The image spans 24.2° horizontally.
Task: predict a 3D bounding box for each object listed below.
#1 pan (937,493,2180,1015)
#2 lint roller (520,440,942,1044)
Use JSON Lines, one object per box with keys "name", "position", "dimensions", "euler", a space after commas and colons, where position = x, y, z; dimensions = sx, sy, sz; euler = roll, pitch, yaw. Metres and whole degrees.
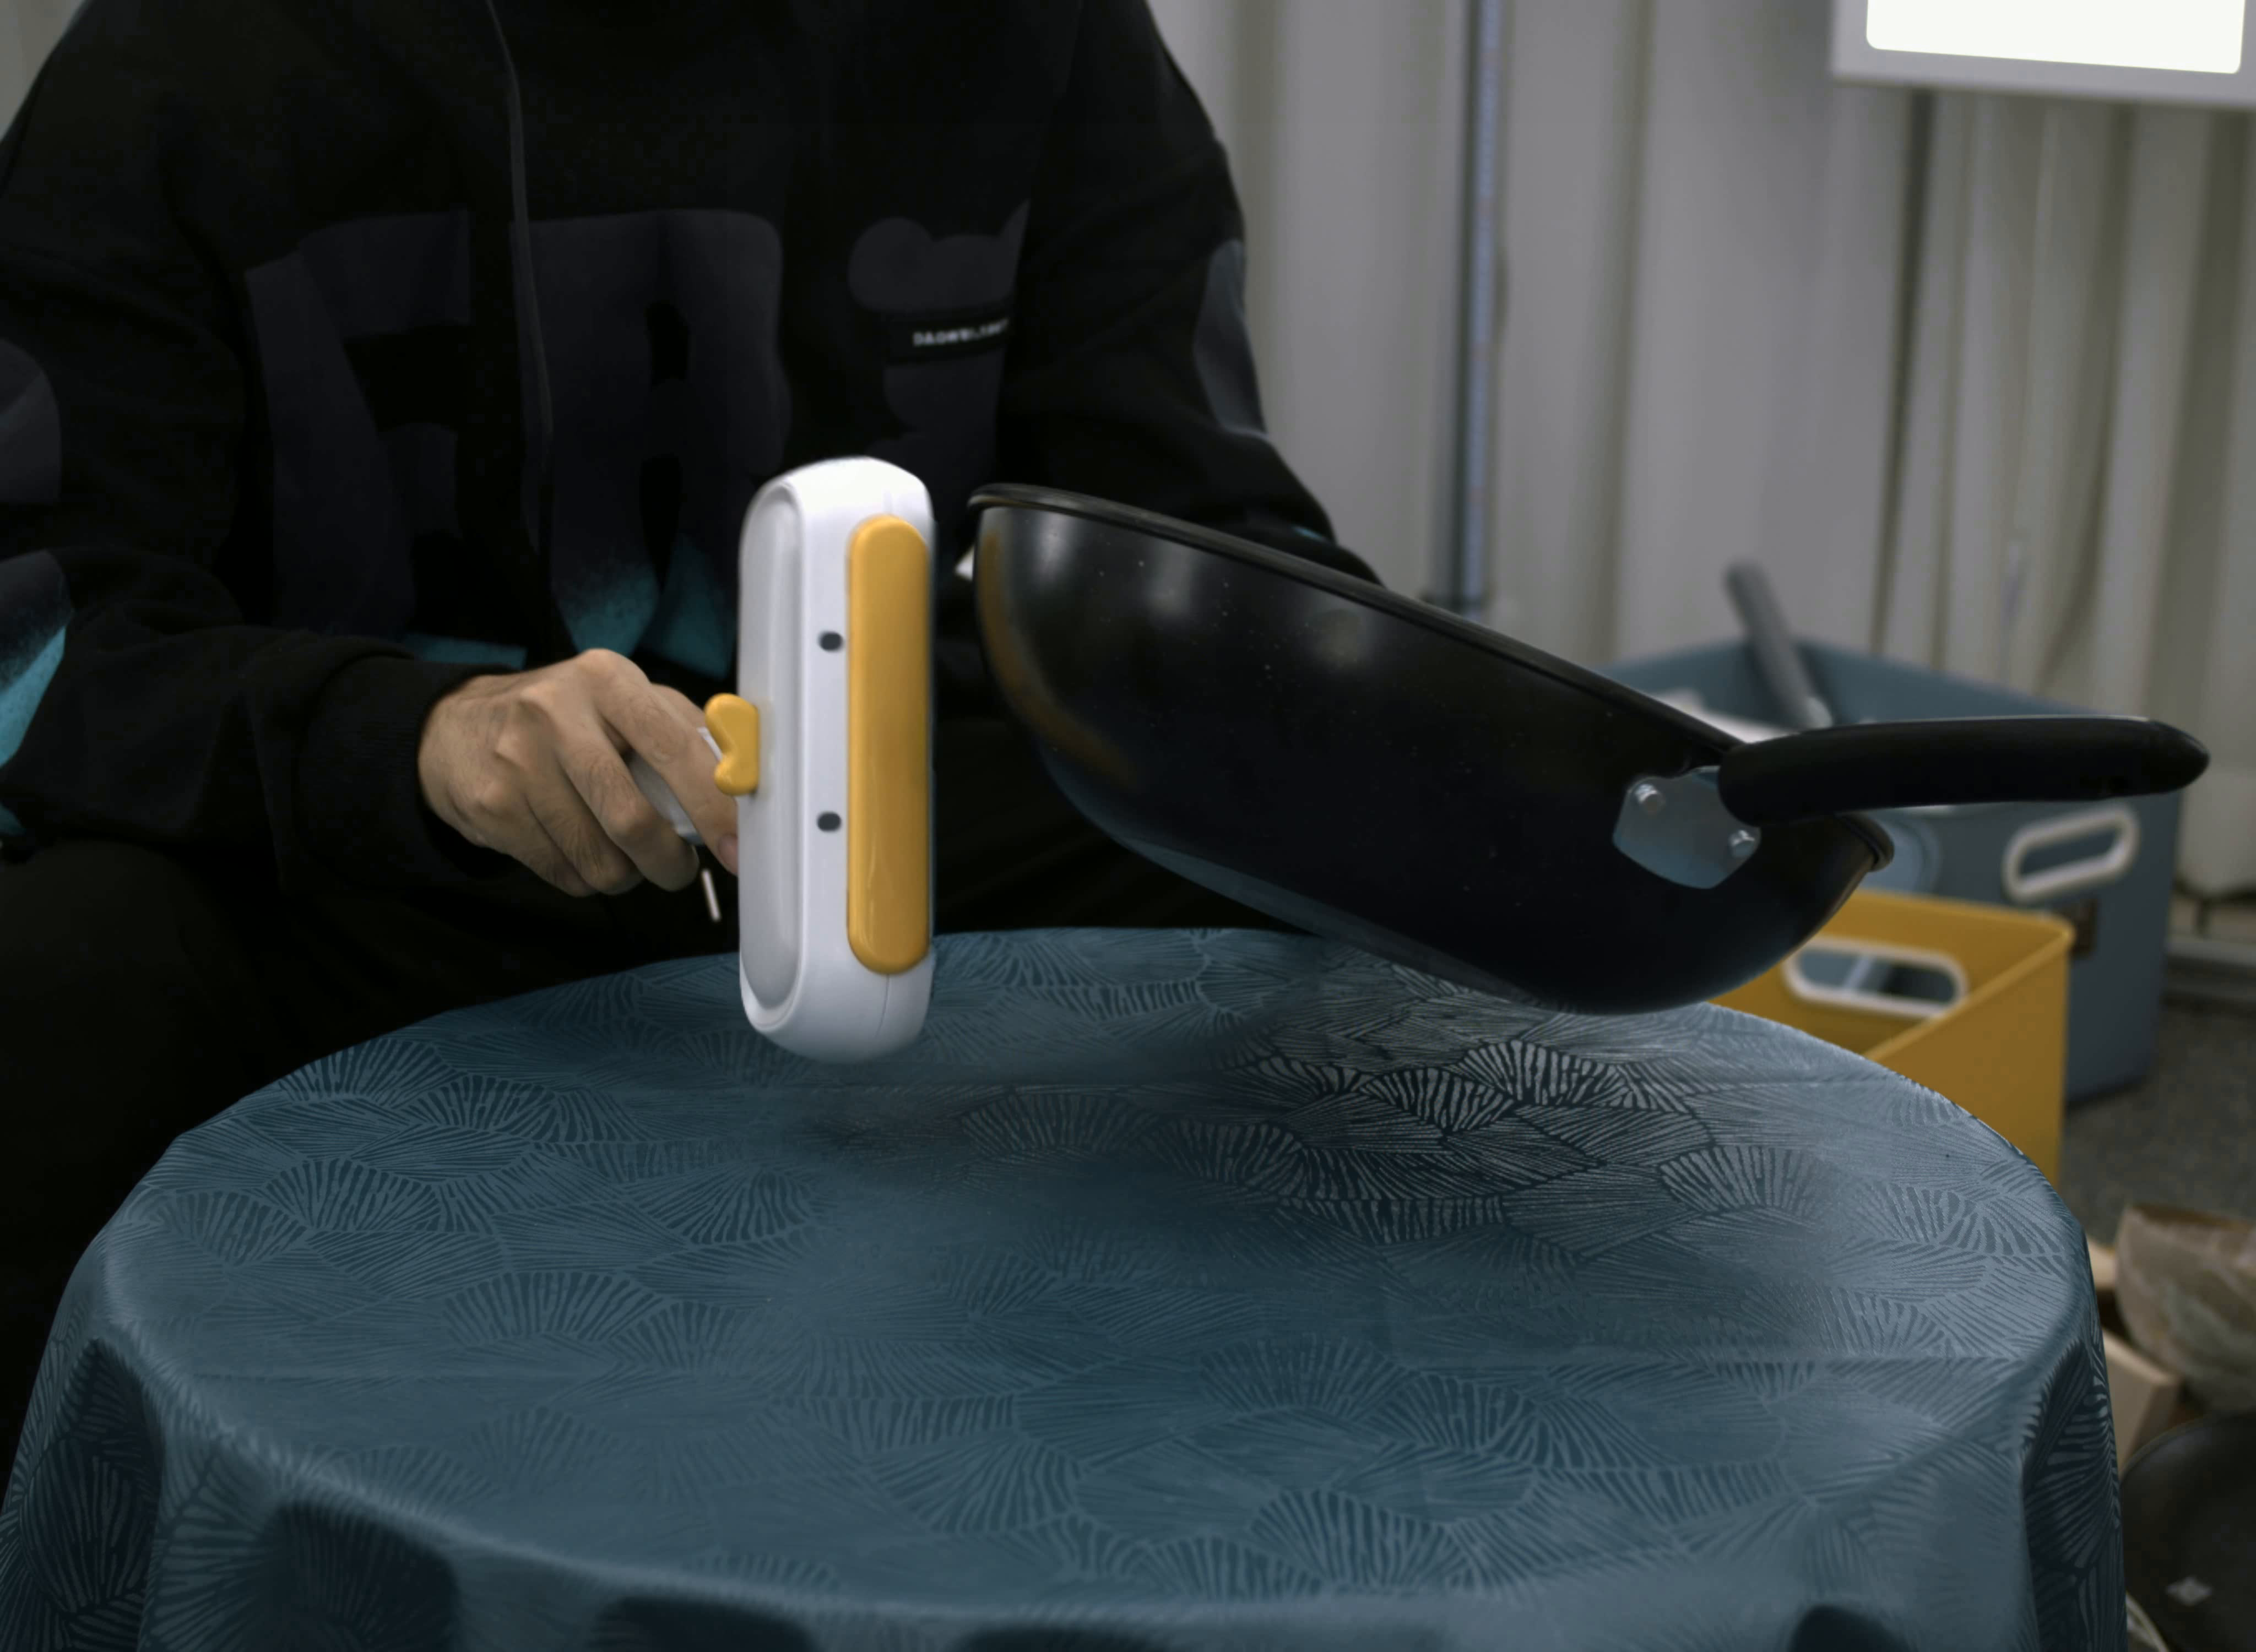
{"name": "pan", "position": [0.123, -0.008, 1.577], "dimensions": [0.313, 0.112, 0.471], "euler": [23, -5, -36]}
{"name": "lint roller", "position": [-0.129, -0.015, 1.709], "dimensions": [0.075, 0.192, 0.191], "euler": [2, -13, -35]}
